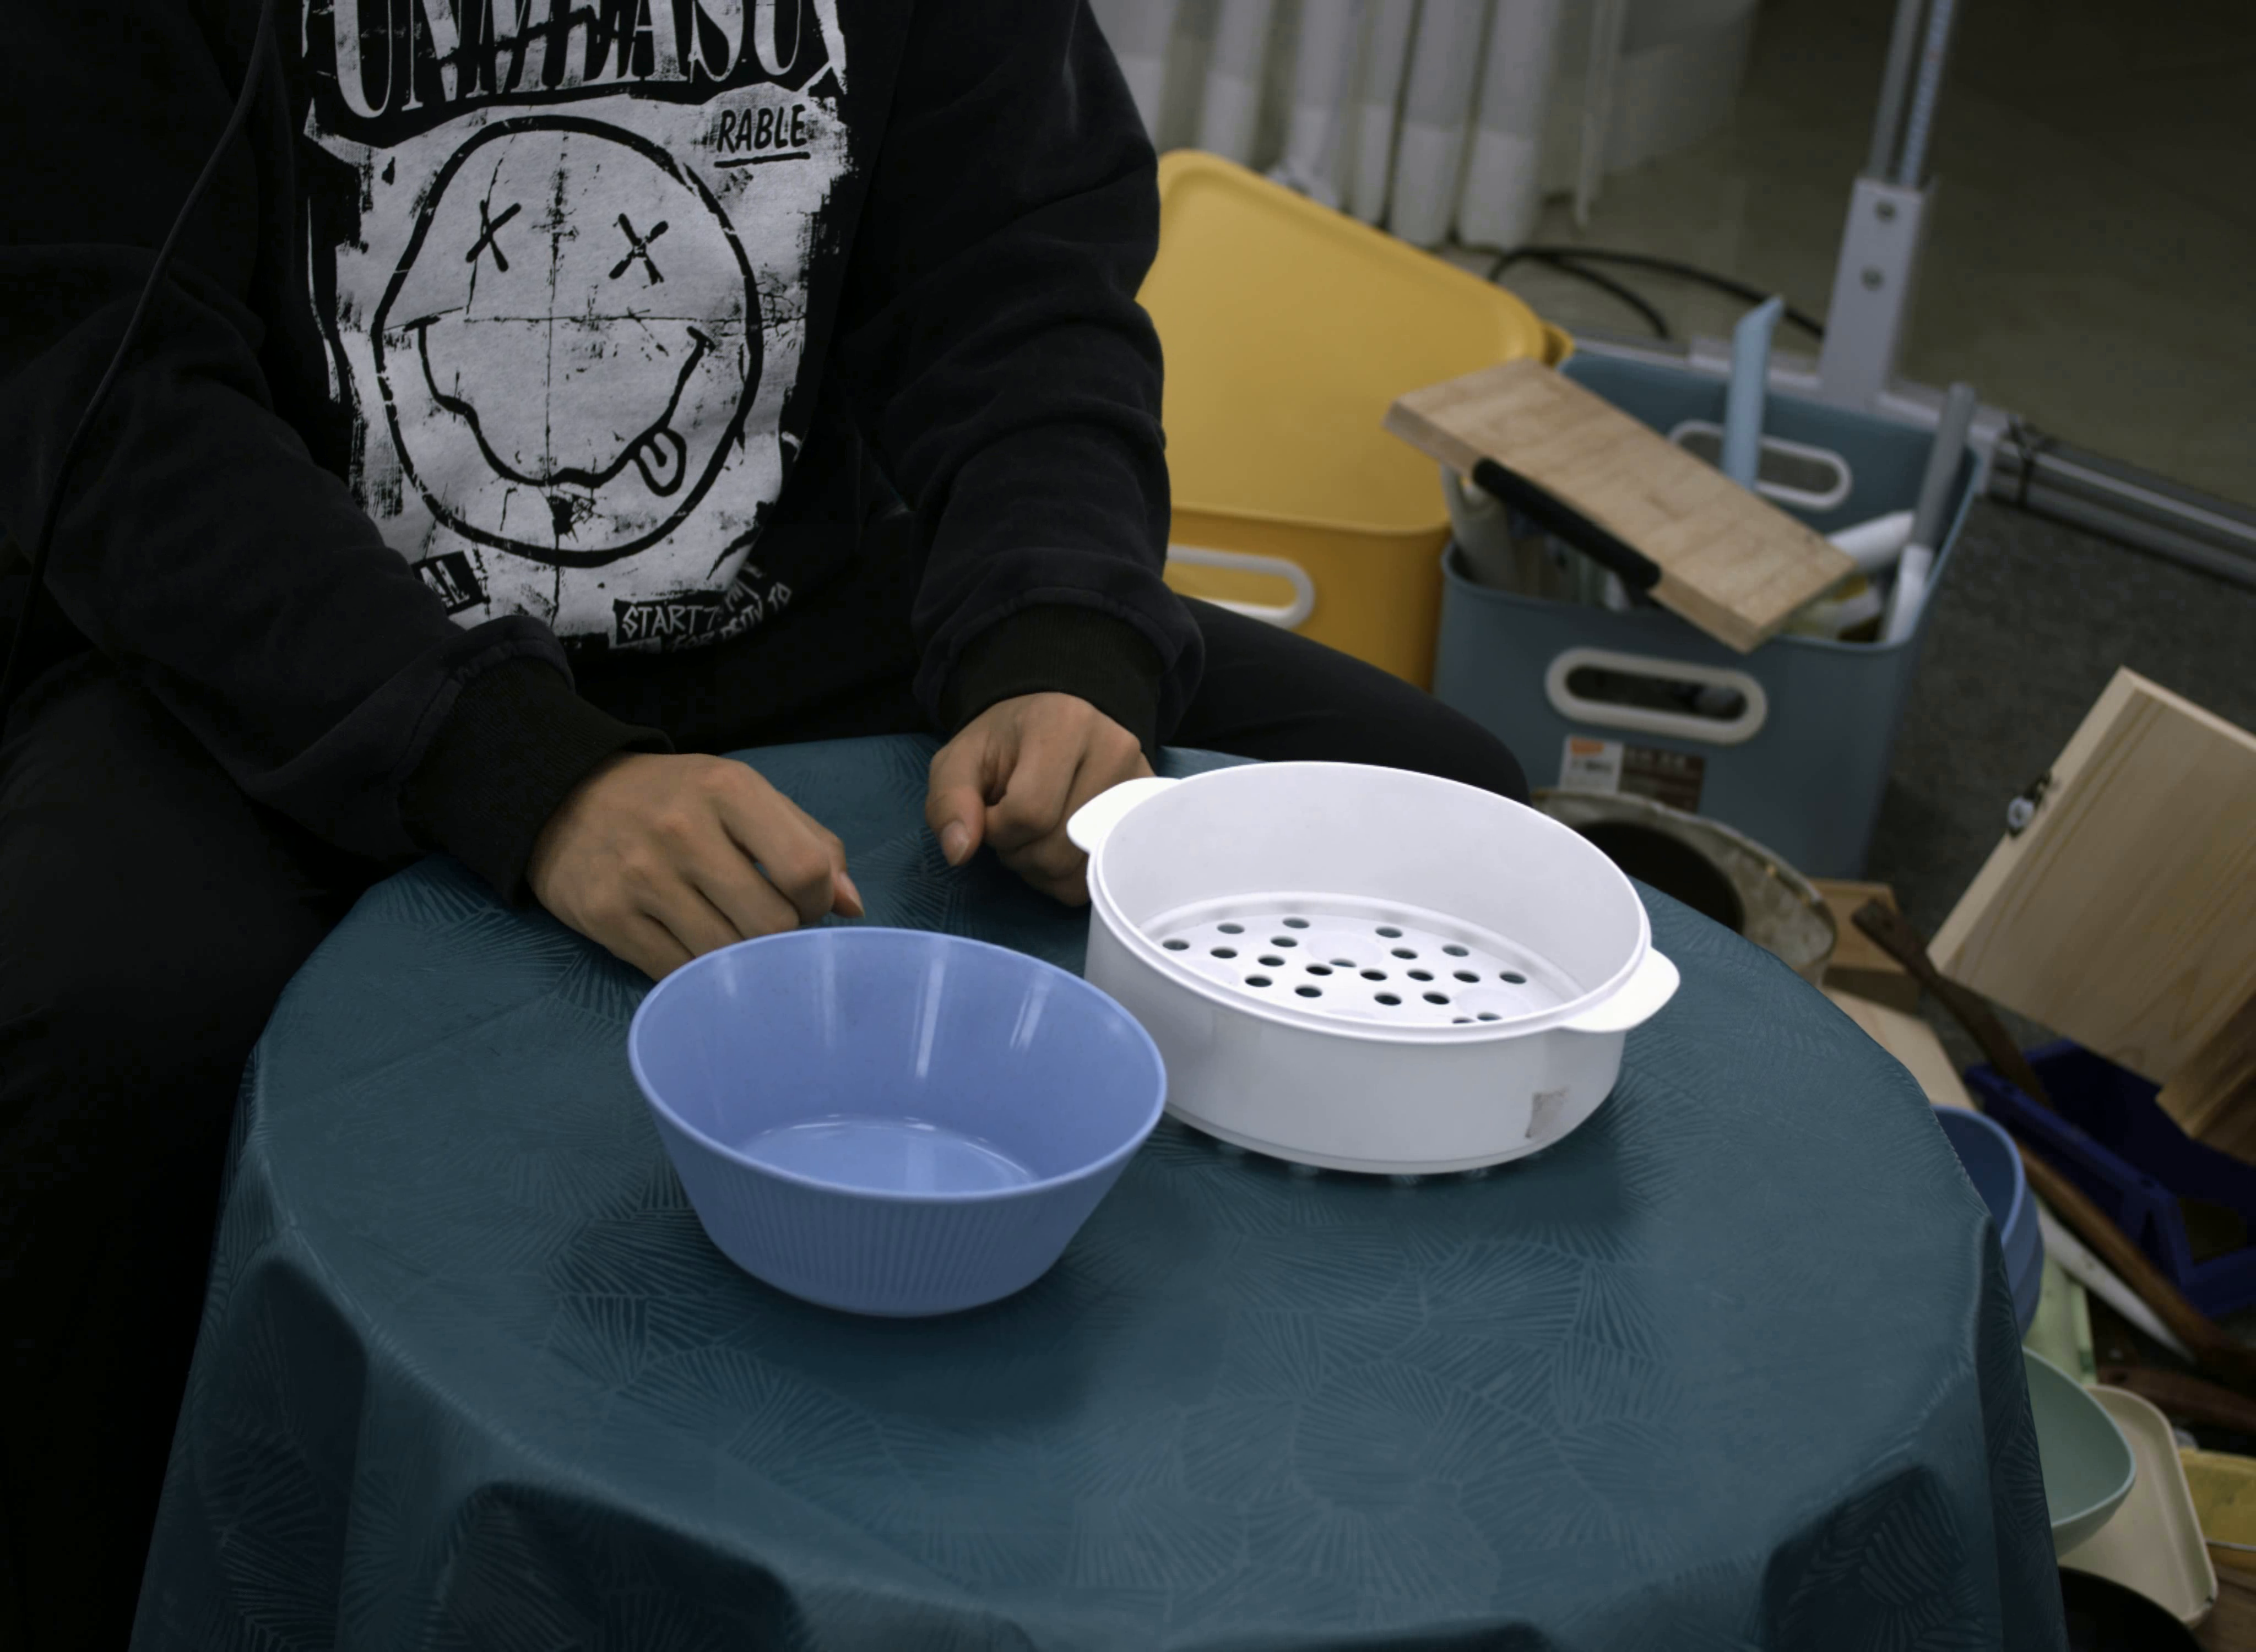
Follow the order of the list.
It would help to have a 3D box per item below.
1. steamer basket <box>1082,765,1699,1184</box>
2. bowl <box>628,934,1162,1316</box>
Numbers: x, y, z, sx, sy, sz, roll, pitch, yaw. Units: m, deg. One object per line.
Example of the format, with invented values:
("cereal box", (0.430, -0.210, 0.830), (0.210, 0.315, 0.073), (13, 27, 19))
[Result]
("steamer basket", (0.087, 0.053, 1.885), (0.231, 0.069, 0.201), (22, 30, 23))
("bowl", (-0.079, 0.104, 1.743), (0.175, 0.070, 0.177), (6, 26, -3))
